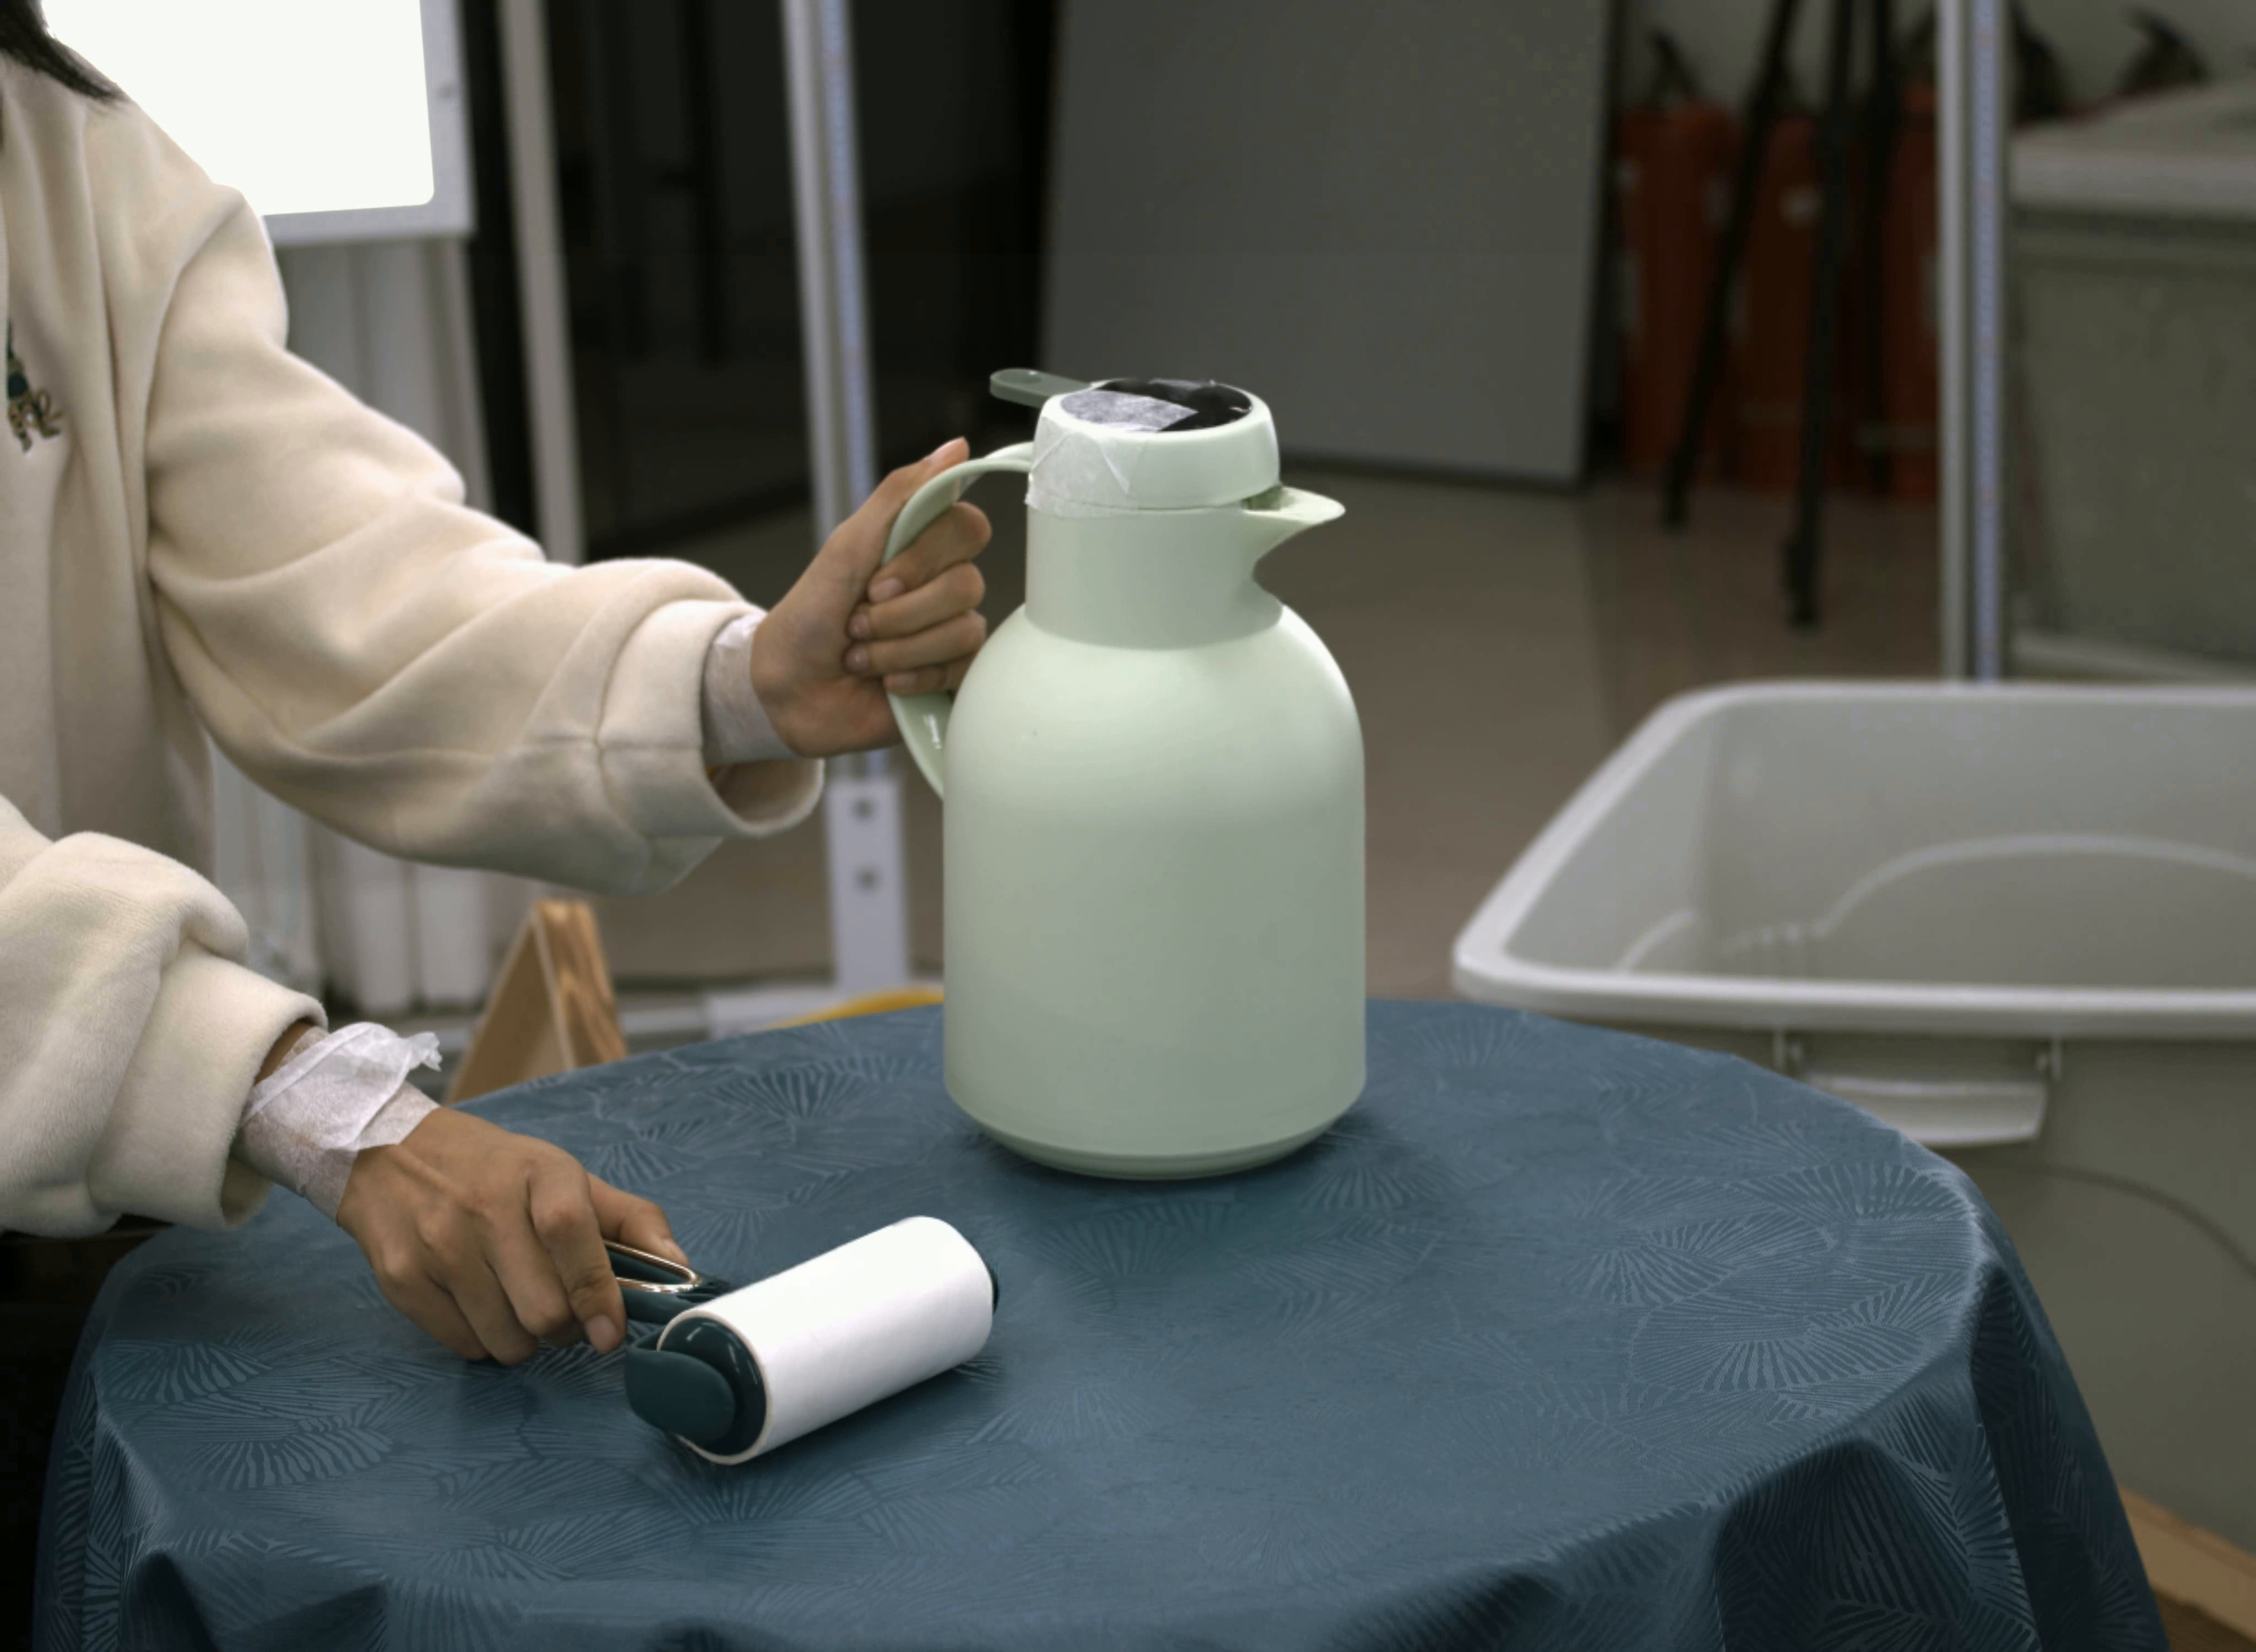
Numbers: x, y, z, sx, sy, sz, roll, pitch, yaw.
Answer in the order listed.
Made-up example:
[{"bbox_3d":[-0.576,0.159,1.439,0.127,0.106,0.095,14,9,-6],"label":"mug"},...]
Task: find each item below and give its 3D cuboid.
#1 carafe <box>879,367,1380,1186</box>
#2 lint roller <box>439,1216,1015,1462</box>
[{"bbox_3d":[-0.001,-0.023,1.802,0.188,0.259,0.142,10,22,38],"label":"carafe"},{"bbox_3d":[-0.140,0.133,1.620,0.181,0.049,0.132,18,23,37],"label":"lint roller"}]
